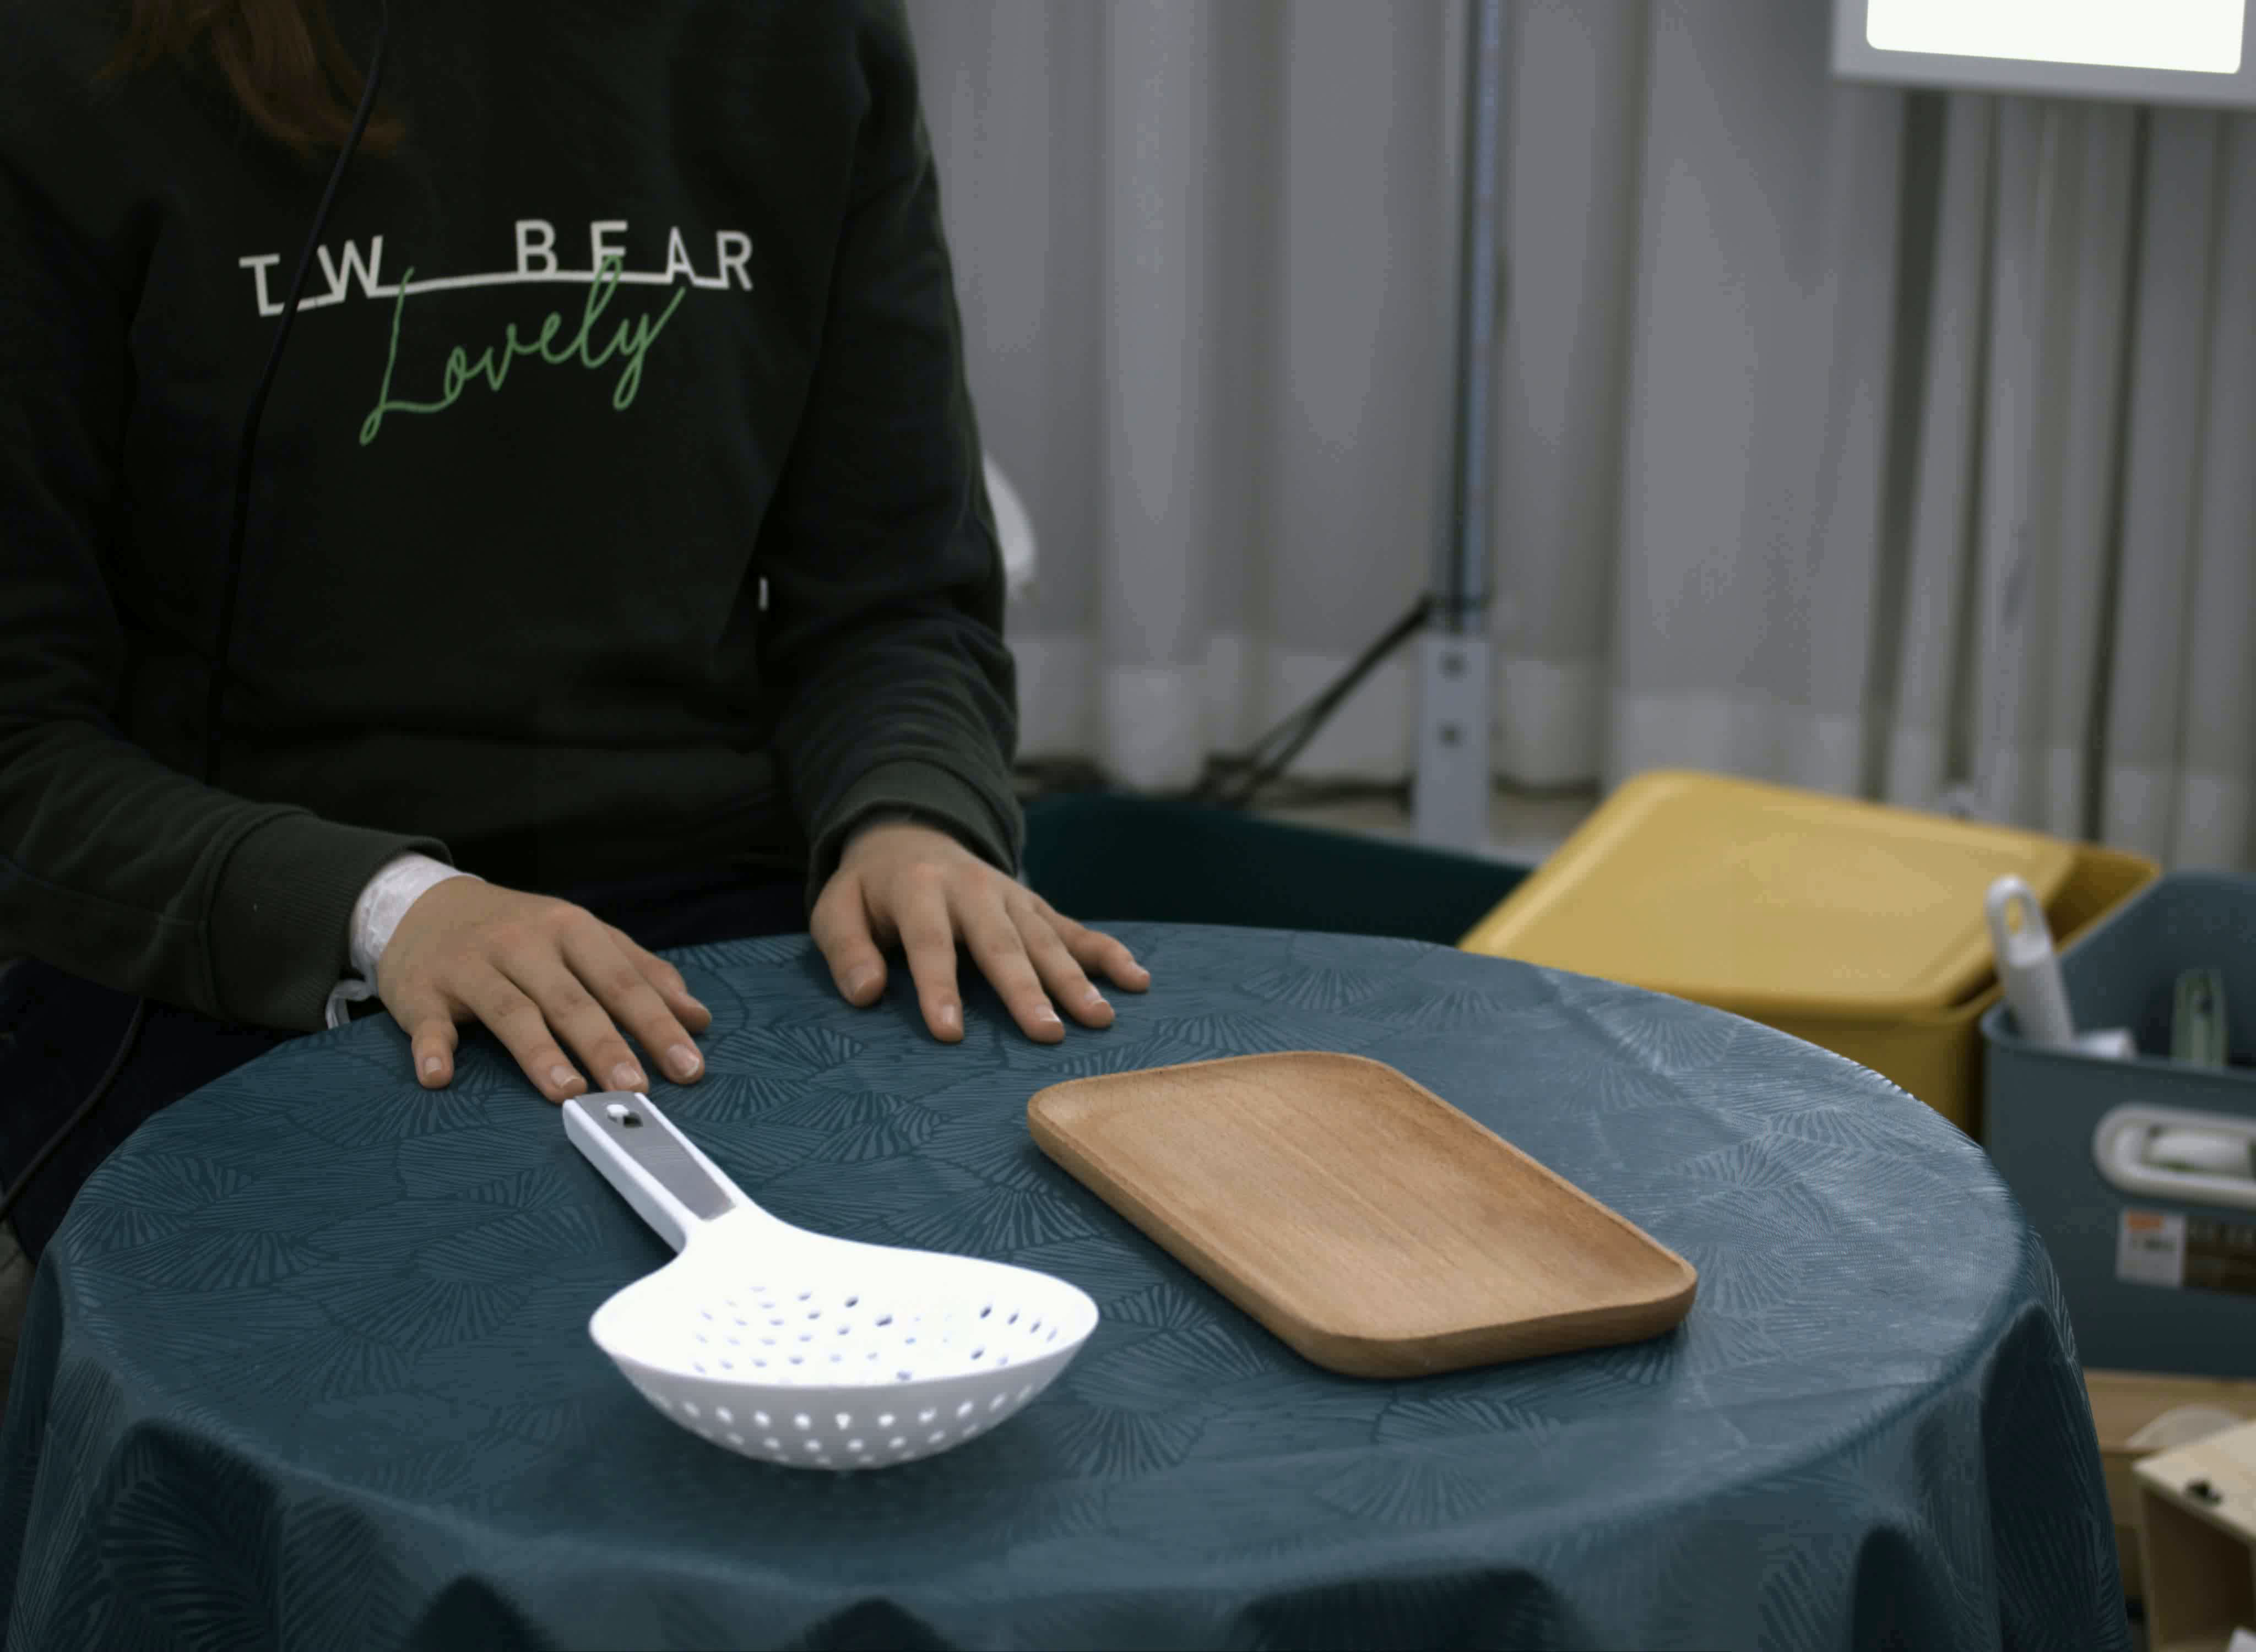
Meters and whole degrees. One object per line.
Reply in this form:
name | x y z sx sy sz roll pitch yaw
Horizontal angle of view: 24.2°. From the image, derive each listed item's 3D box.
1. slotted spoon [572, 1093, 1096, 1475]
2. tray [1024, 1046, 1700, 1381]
slotted spoon | -0.111 0.121 1.508 0.136 0.046 0.346 -2 15 -19
tray | 0.066 0.114 1.593 0.131 0.023 0.248 -4 16 -23
